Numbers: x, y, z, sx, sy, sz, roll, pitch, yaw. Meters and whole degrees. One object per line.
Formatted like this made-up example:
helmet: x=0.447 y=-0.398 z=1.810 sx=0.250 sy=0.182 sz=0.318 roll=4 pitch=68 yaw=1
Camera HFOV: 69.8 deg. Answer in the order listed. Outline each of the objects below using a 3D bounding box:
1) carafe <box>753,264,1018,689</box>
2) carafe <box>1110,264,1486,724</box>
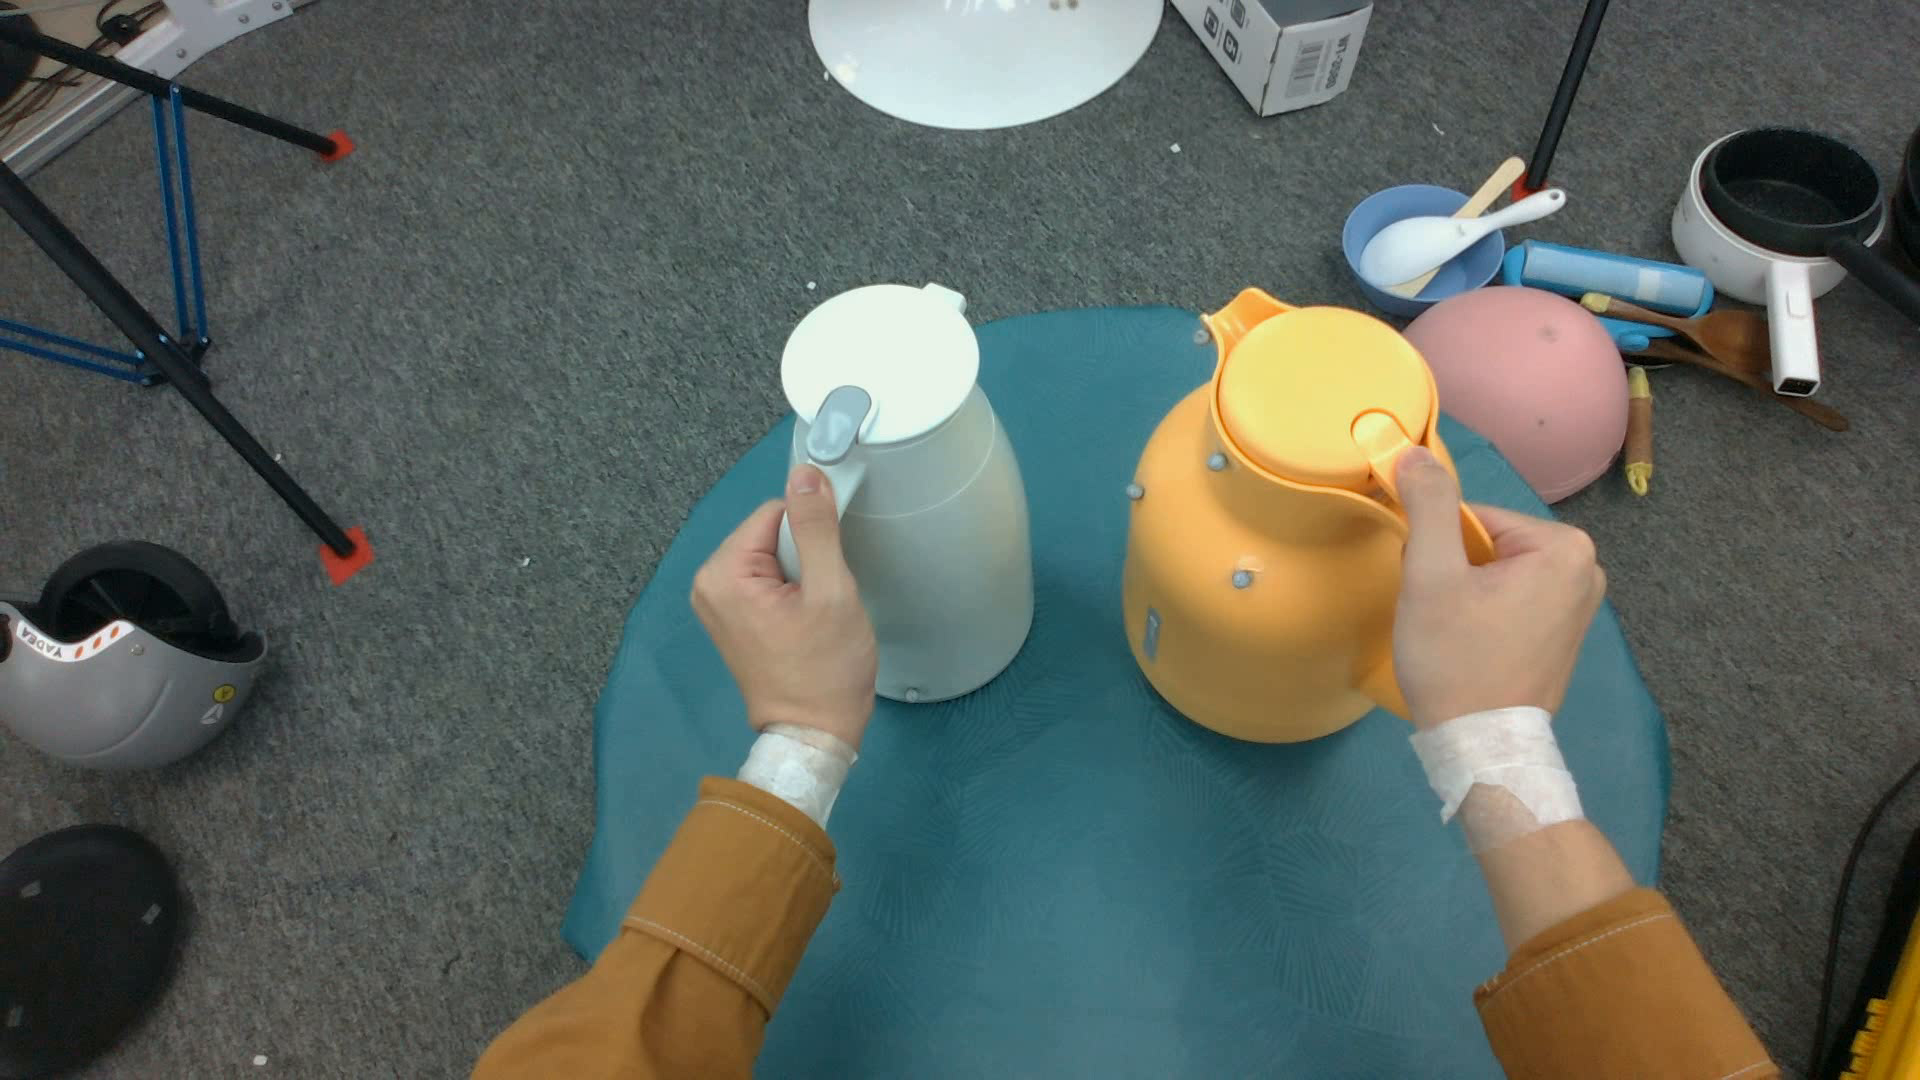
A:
carafe: x=-0.046 y=-0.016 z=0.717 sx=0.132 sy=0.247 sz=0.168 roll=22 pitch=64 yaw=16
carafe: x=0.167 y=-0.004 z=0.691 sx=0.164 sy=0.259 sz=0.203 roll=-30 pitch=62 yaw=-9
